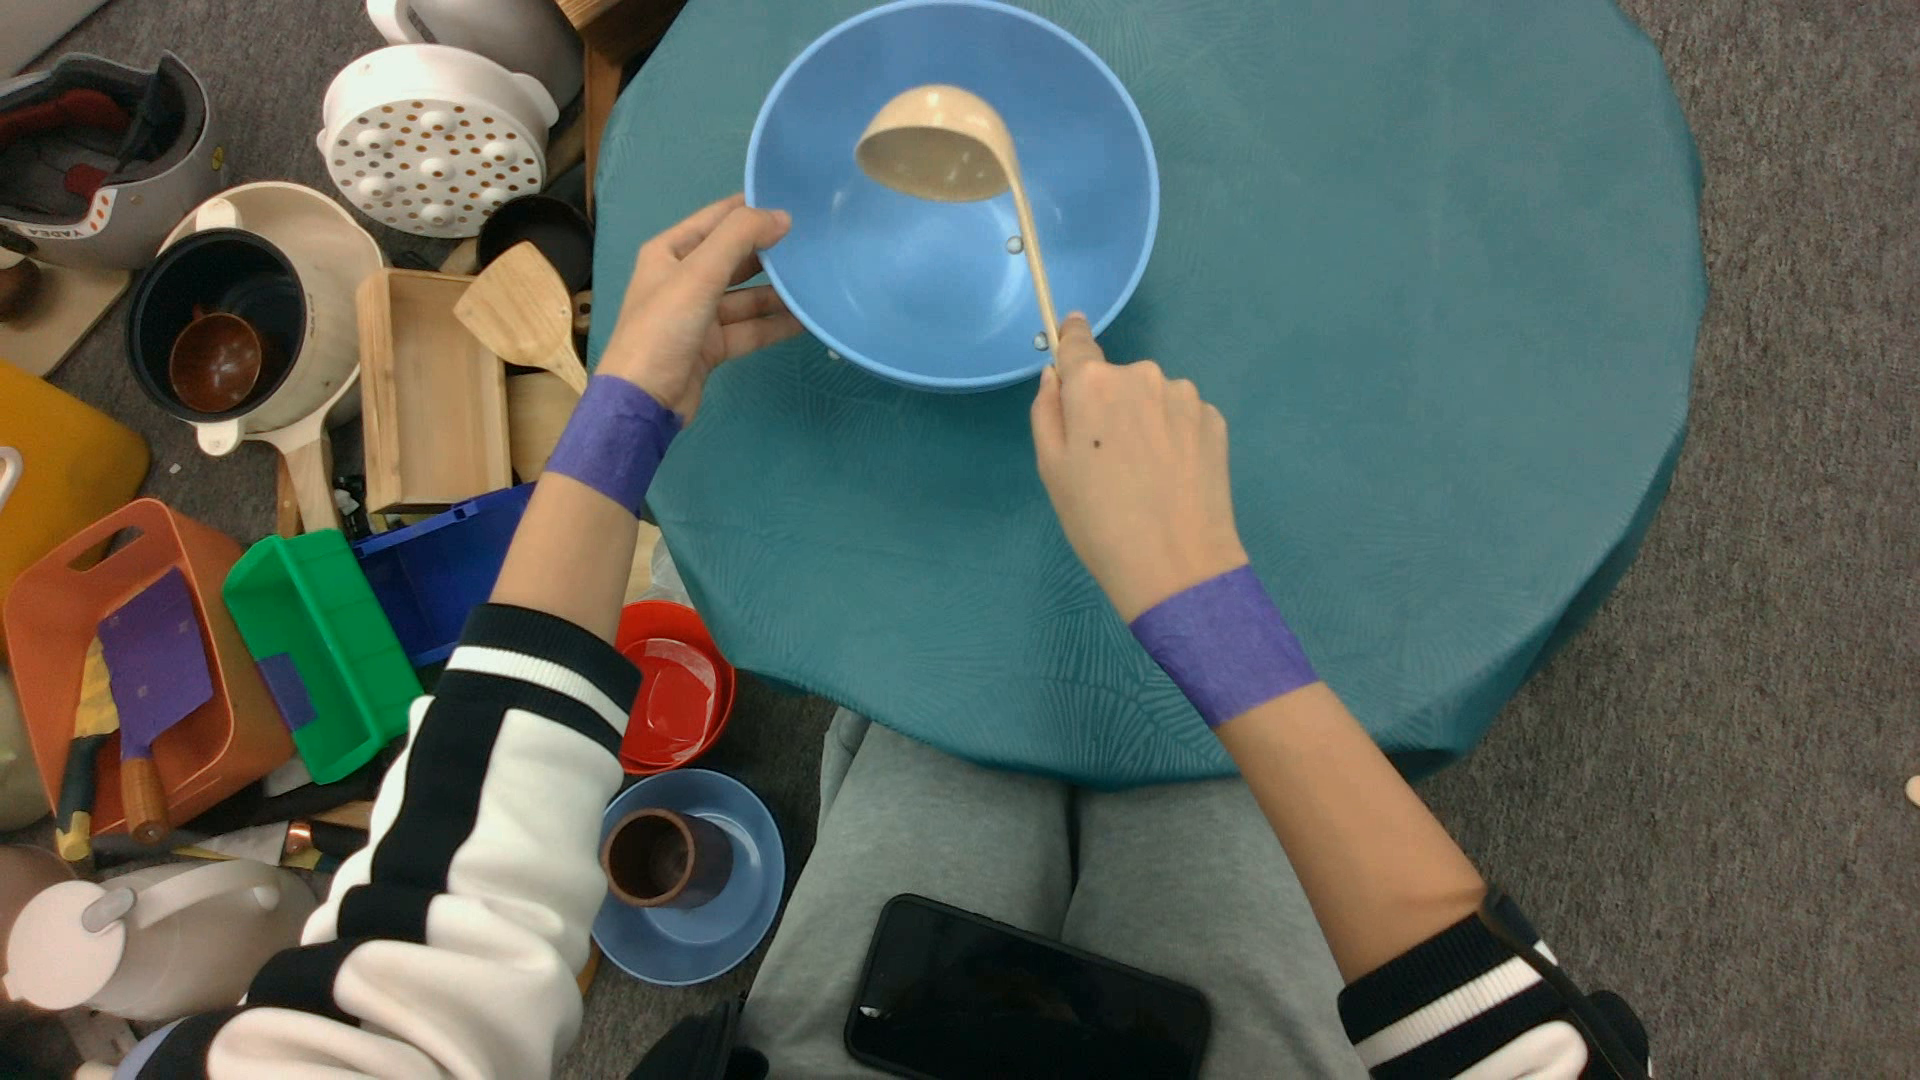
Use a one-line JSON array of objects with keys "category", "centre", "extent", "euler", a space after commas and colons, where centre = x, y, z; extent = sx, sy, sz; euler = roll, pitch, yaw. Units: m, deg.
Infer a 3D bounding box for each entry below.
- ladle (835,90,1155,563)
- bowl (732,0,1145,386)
[{"category": "ladle", "centre": [0.009, -0.089, 0.611], "extent": [0.072, 0.072, 0.255], "euler": [-25, 68, 15]}, {"category": "bowl", "centre": [-0.013, -0.161, 0.696], "extent": [0.196, 0.095, 0.197], "euler": [1, 78, -5]}]
